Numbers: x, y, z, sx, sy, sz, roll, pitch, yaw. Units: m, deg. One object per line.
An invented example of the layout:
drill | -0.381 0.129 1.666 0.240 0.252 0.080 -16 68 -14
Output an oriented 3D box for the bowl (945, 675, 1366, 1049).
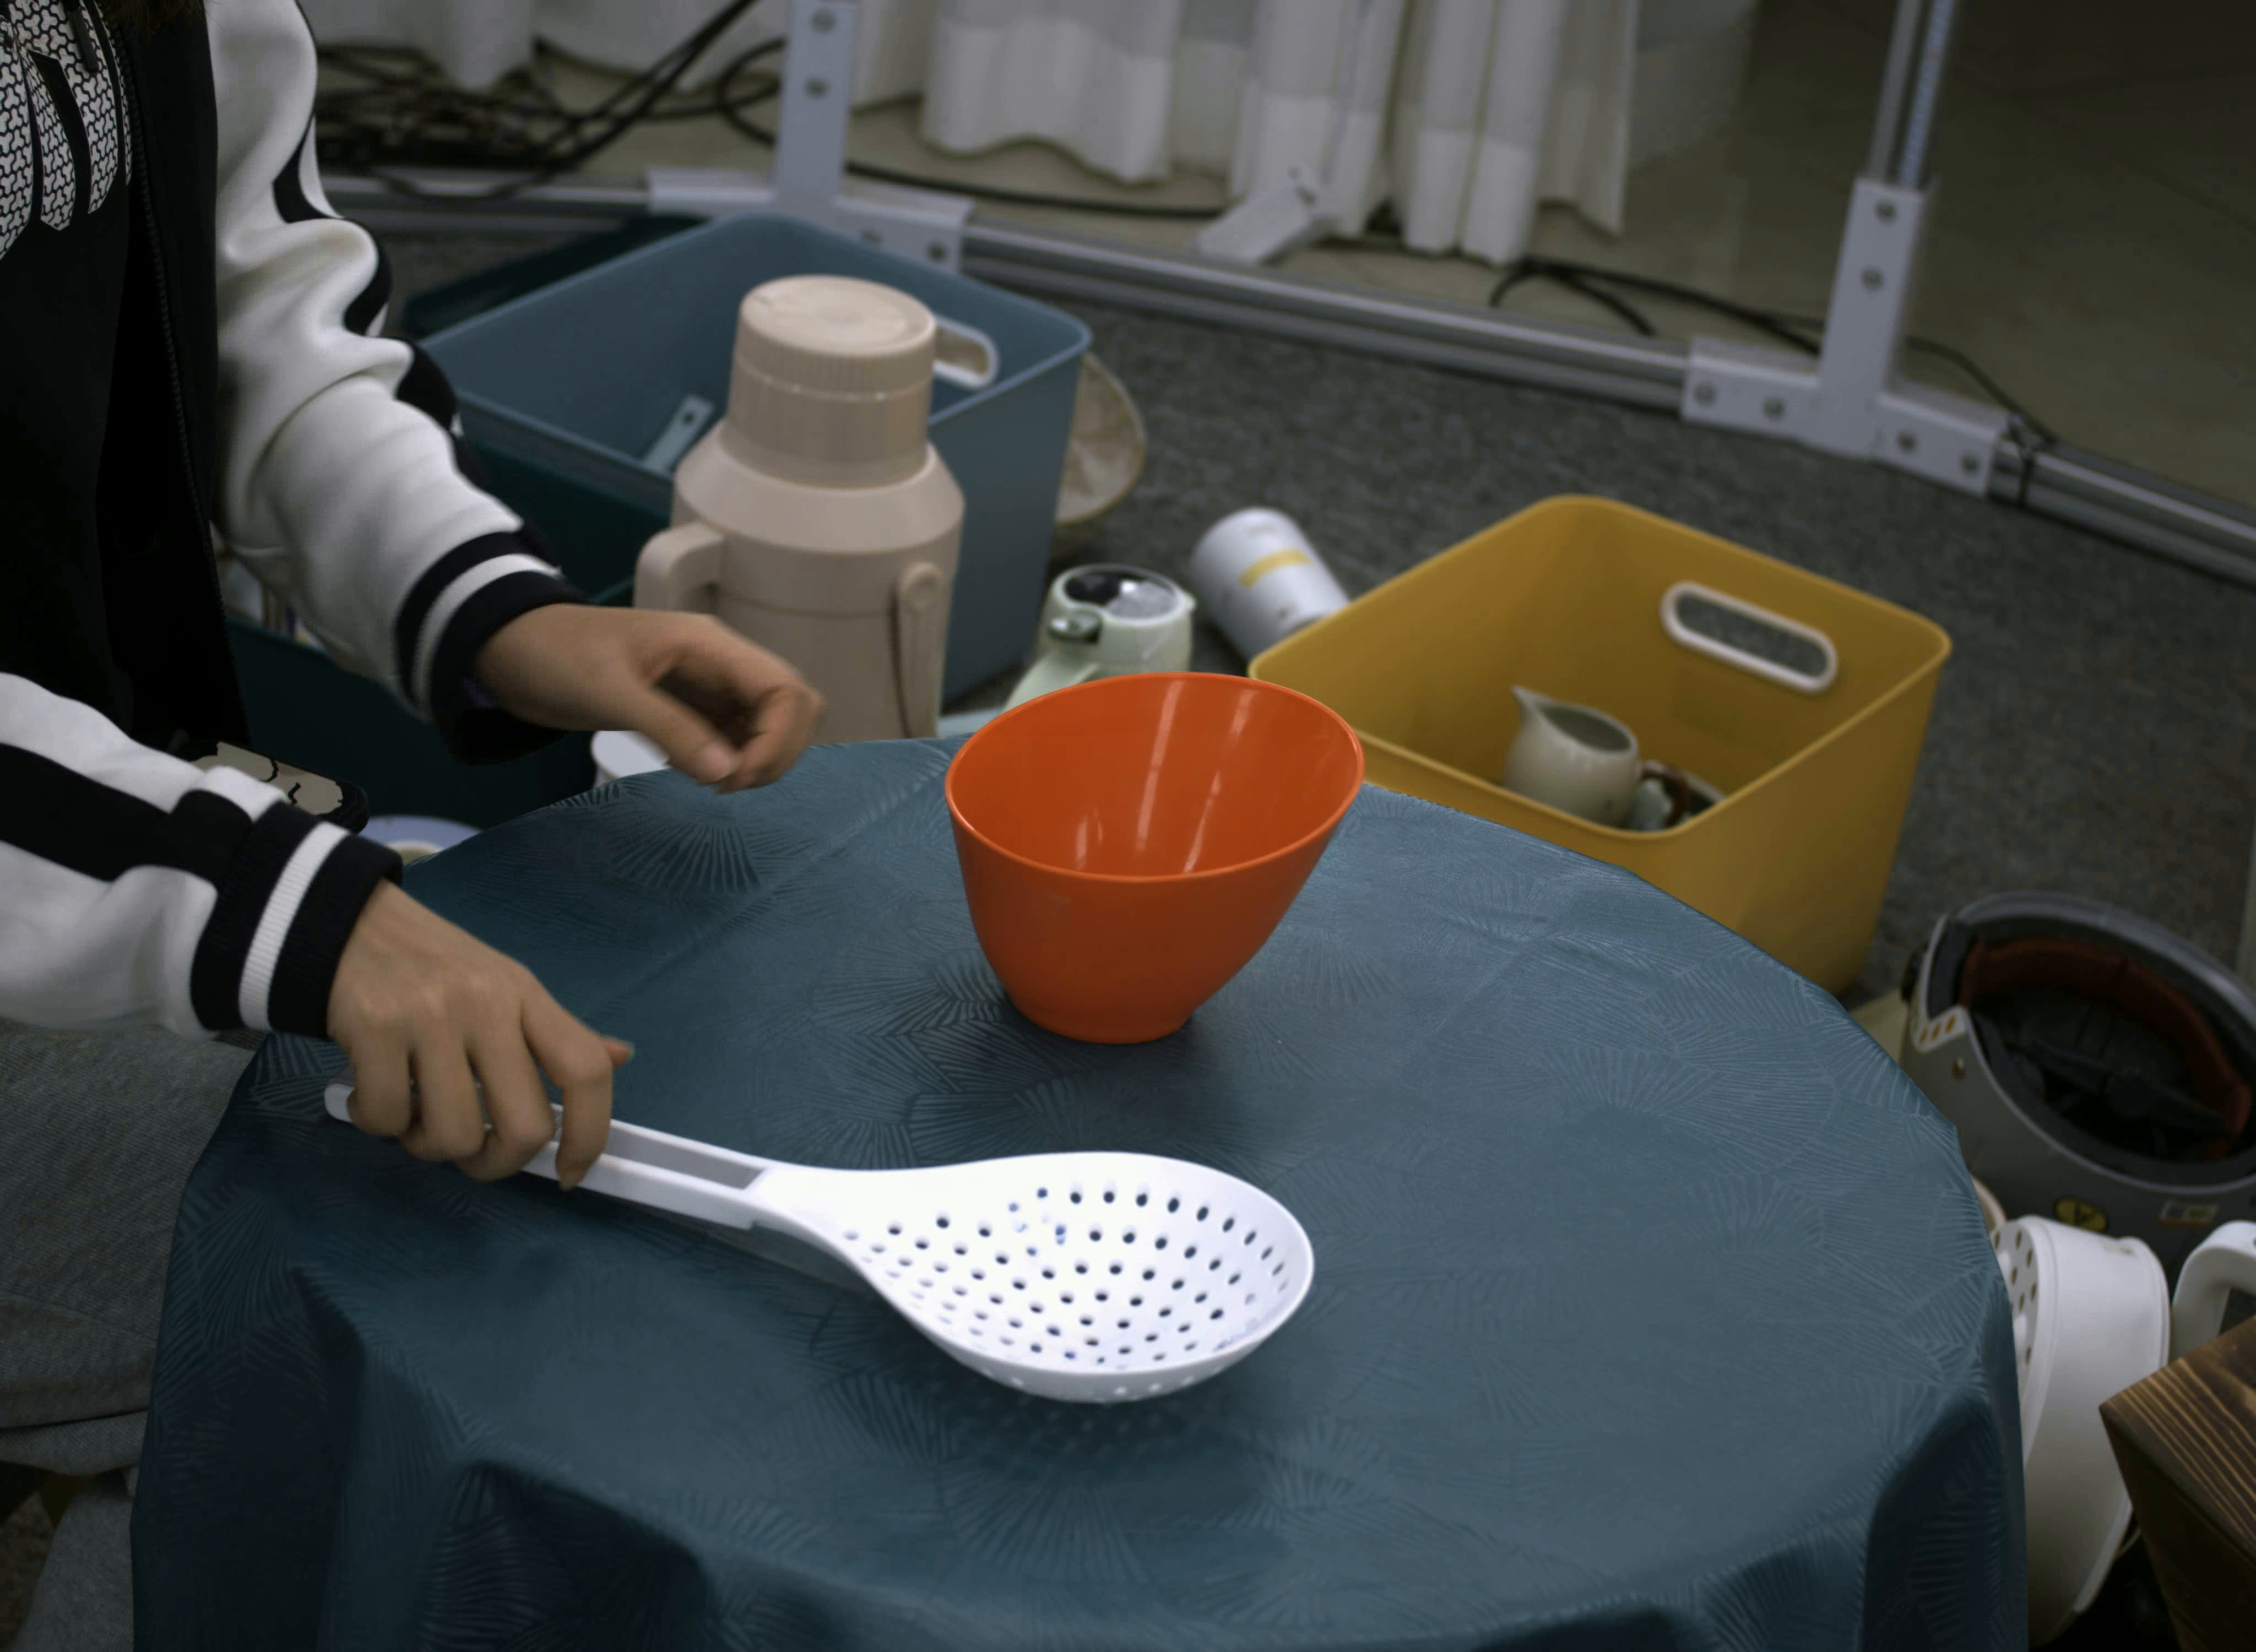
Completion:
bowl | 0.006 0.018 1.900 0.147 0.104 0.149 5 29 -3

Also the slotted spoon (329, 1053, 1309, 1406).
slotted spoon | -0.108 0.123 1.730 0.351 0.045 0.136 17 30 21
